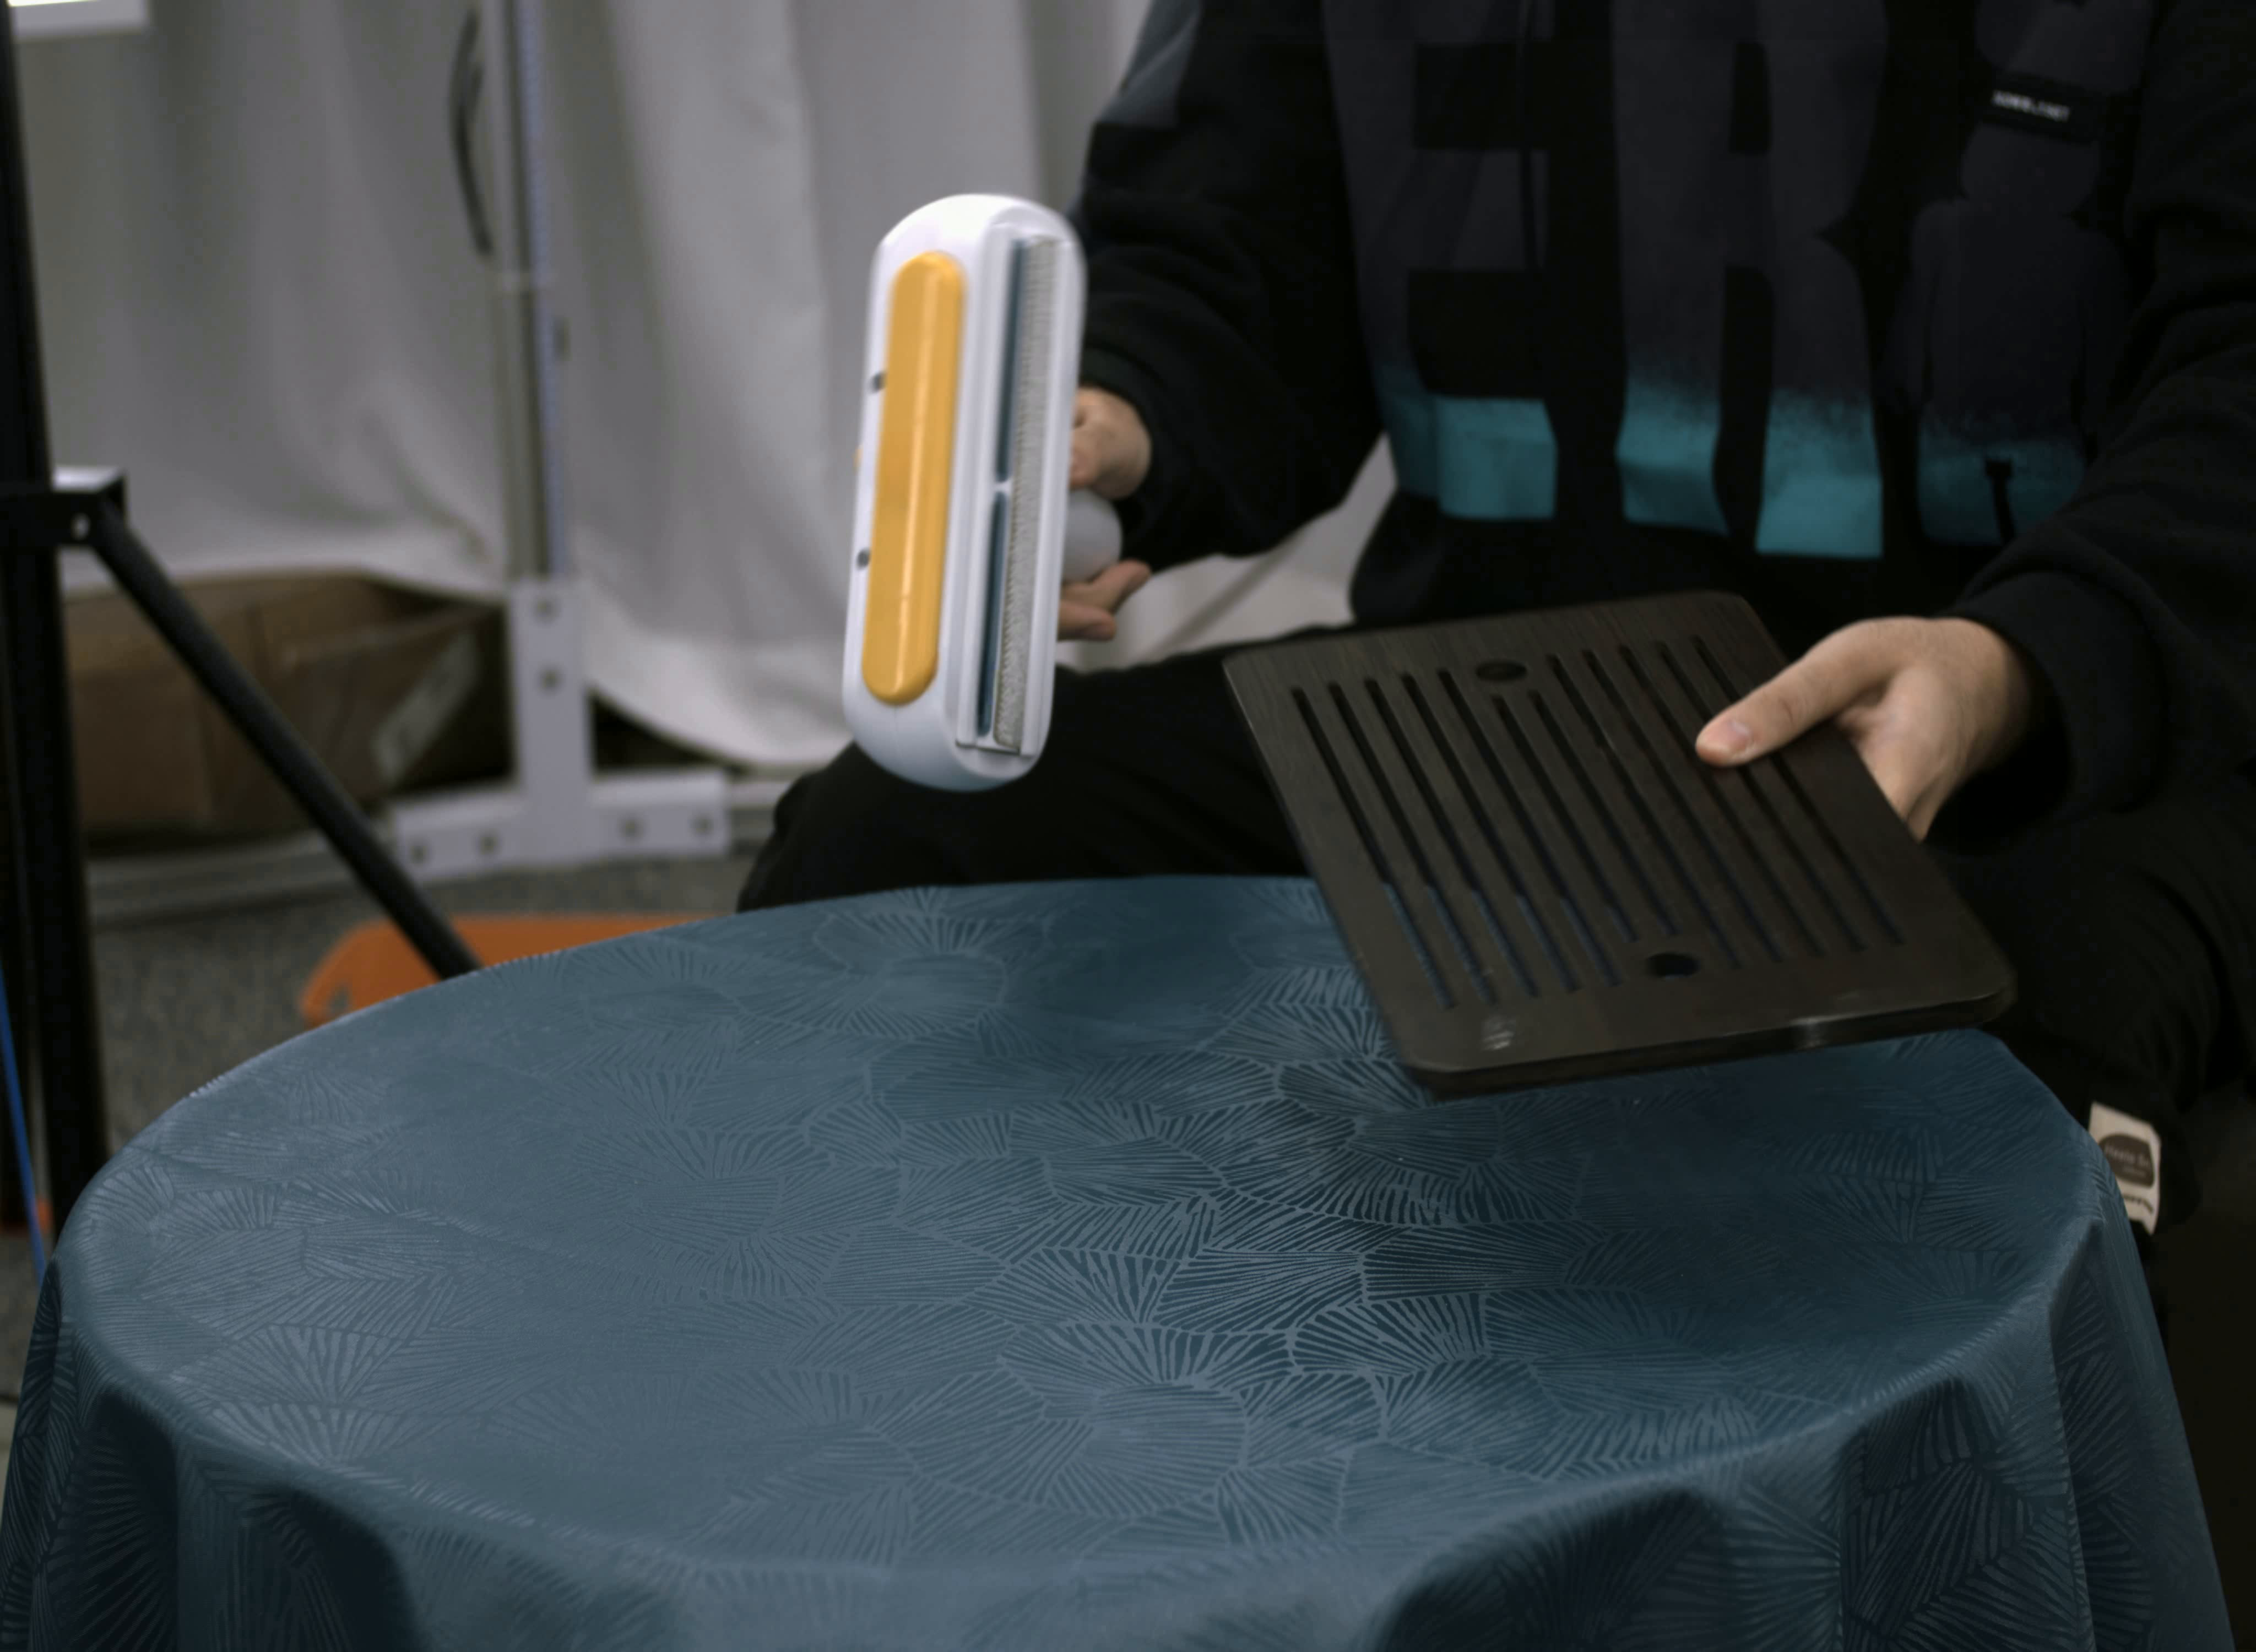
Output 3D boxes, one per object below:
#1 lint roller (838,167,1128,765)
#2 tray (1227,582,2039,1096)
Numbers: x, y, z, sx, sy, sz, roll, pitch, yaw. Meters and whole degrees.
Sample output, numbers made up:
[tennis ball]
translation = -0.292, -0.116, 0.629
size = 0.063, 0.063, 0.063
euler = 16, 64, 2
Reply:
[lint roller]
translation = -0.032, -0.107, 1.784
size = 0.075, 0.194, 0.188
euler = -1, -10, 27
[tray]
translation = 0.139, 0.000, 1.549
size = 0.168, 0.018, 0.310
euler = -8, 25, -7
